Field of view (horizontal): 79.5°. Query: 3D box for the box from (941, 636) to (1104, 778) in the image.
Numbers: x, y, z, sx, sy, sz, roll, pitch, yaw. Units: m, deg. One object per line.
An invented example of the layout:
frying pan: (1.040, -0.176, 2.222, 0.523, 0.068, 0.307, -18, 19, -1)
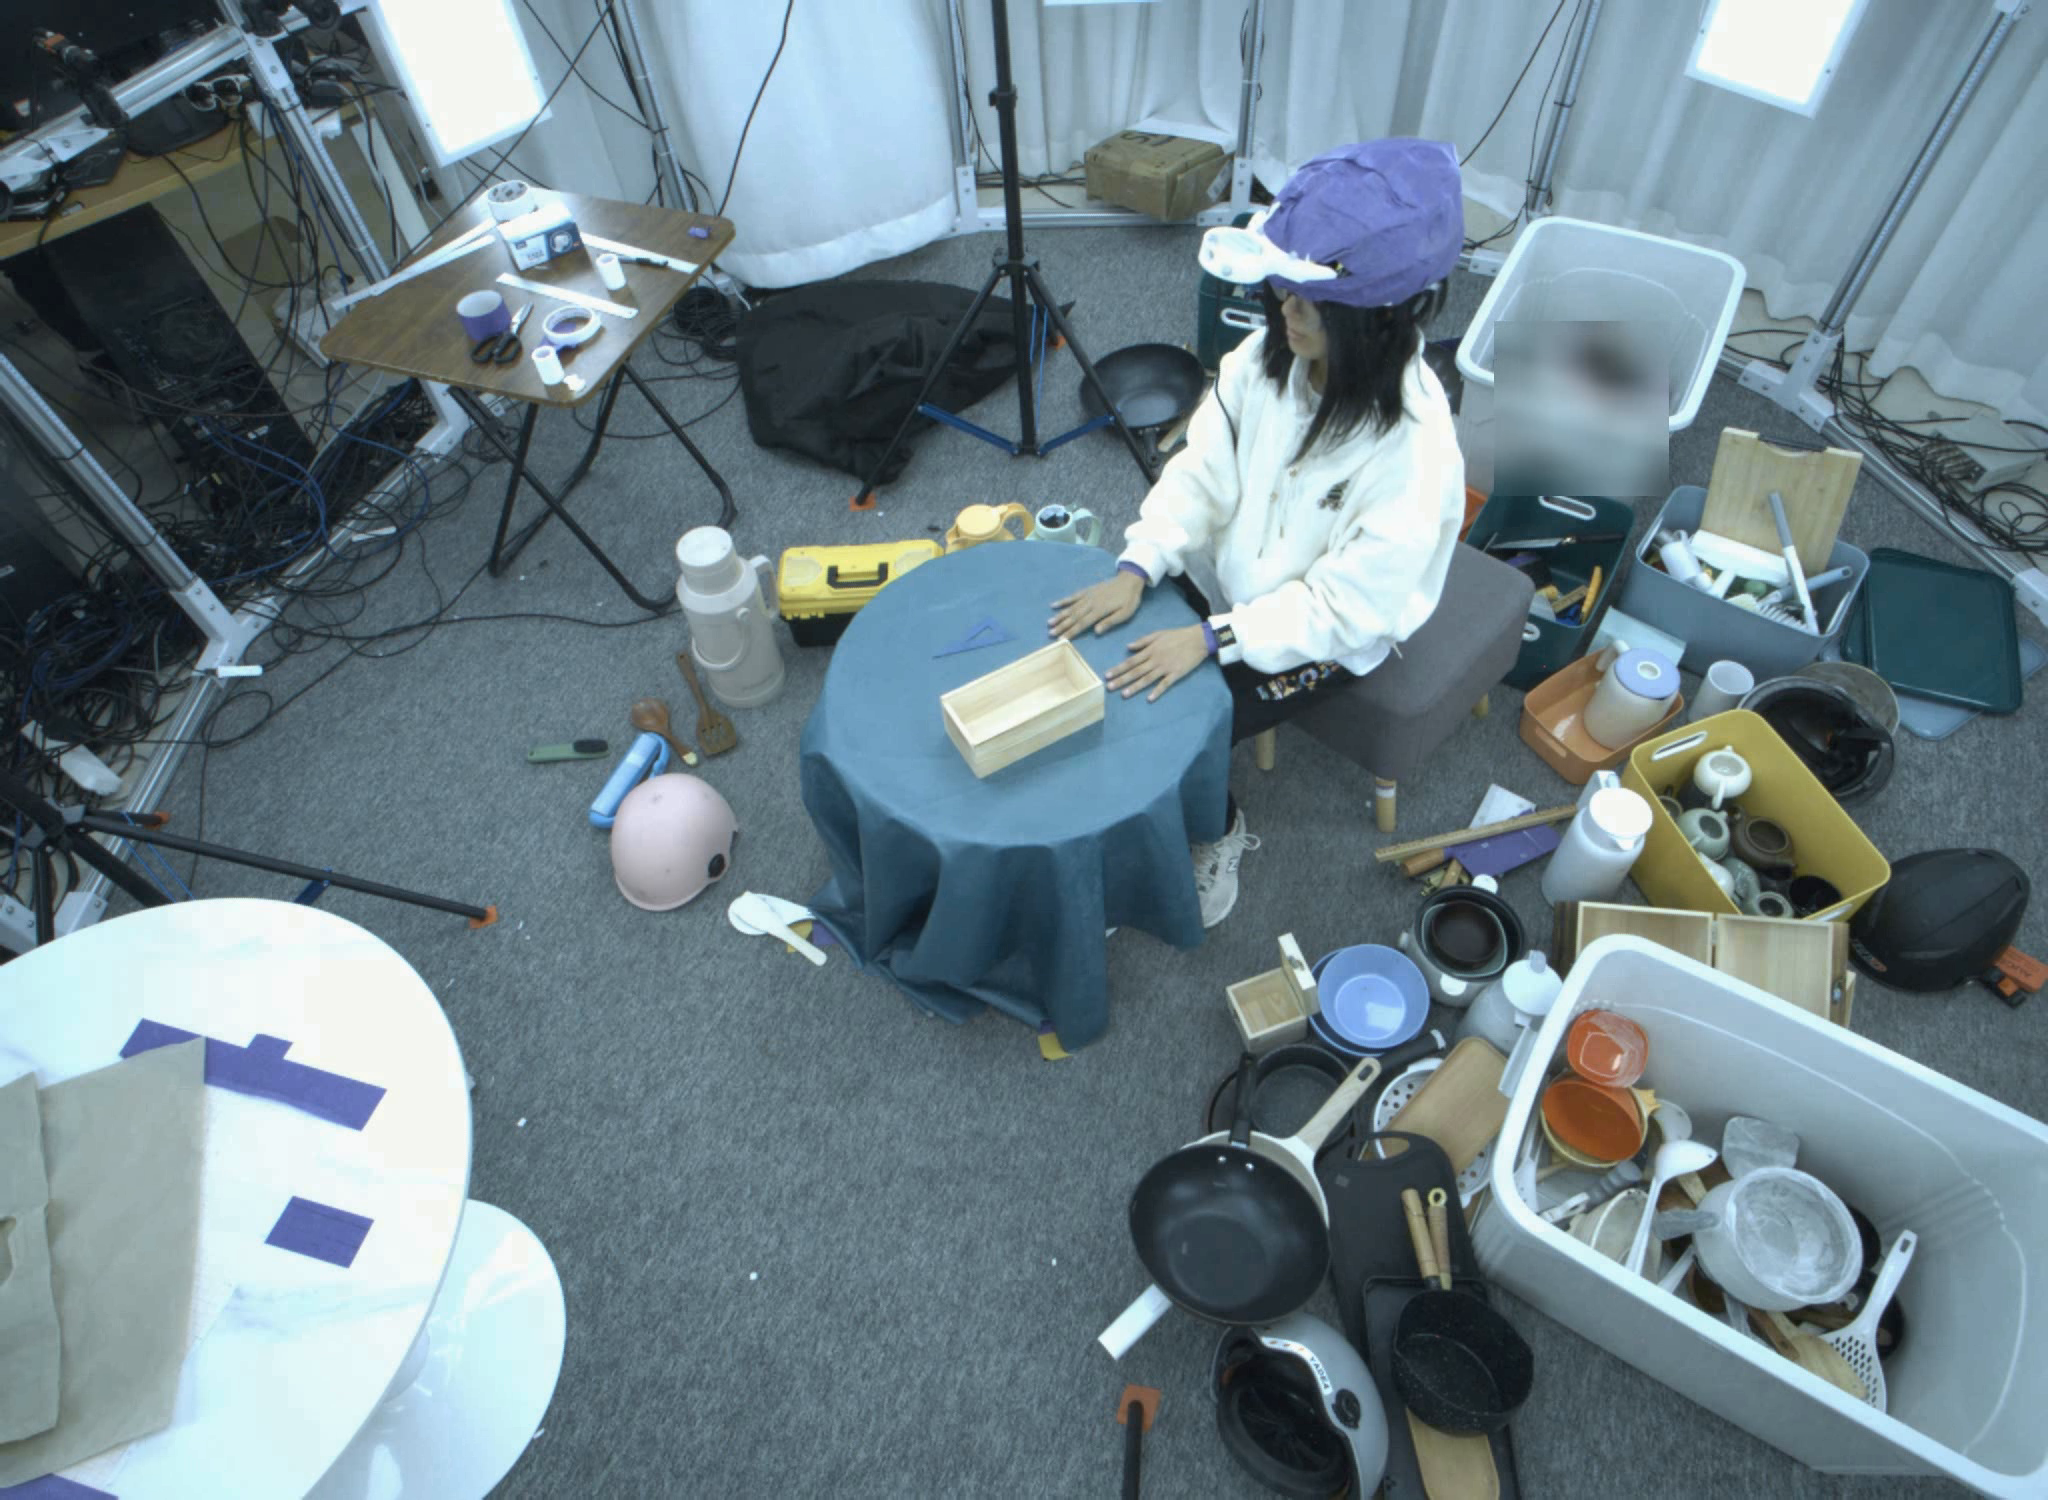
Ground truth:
box: (0.000, -0.063, 1.783, 0.213, 0.081, 0.105, -27, 59, -16)

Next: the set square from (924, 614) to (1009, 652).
set square: (-0.093, -0.186, 1.920, 0.132, 0.006, 0.060, -10, 56, -5)
